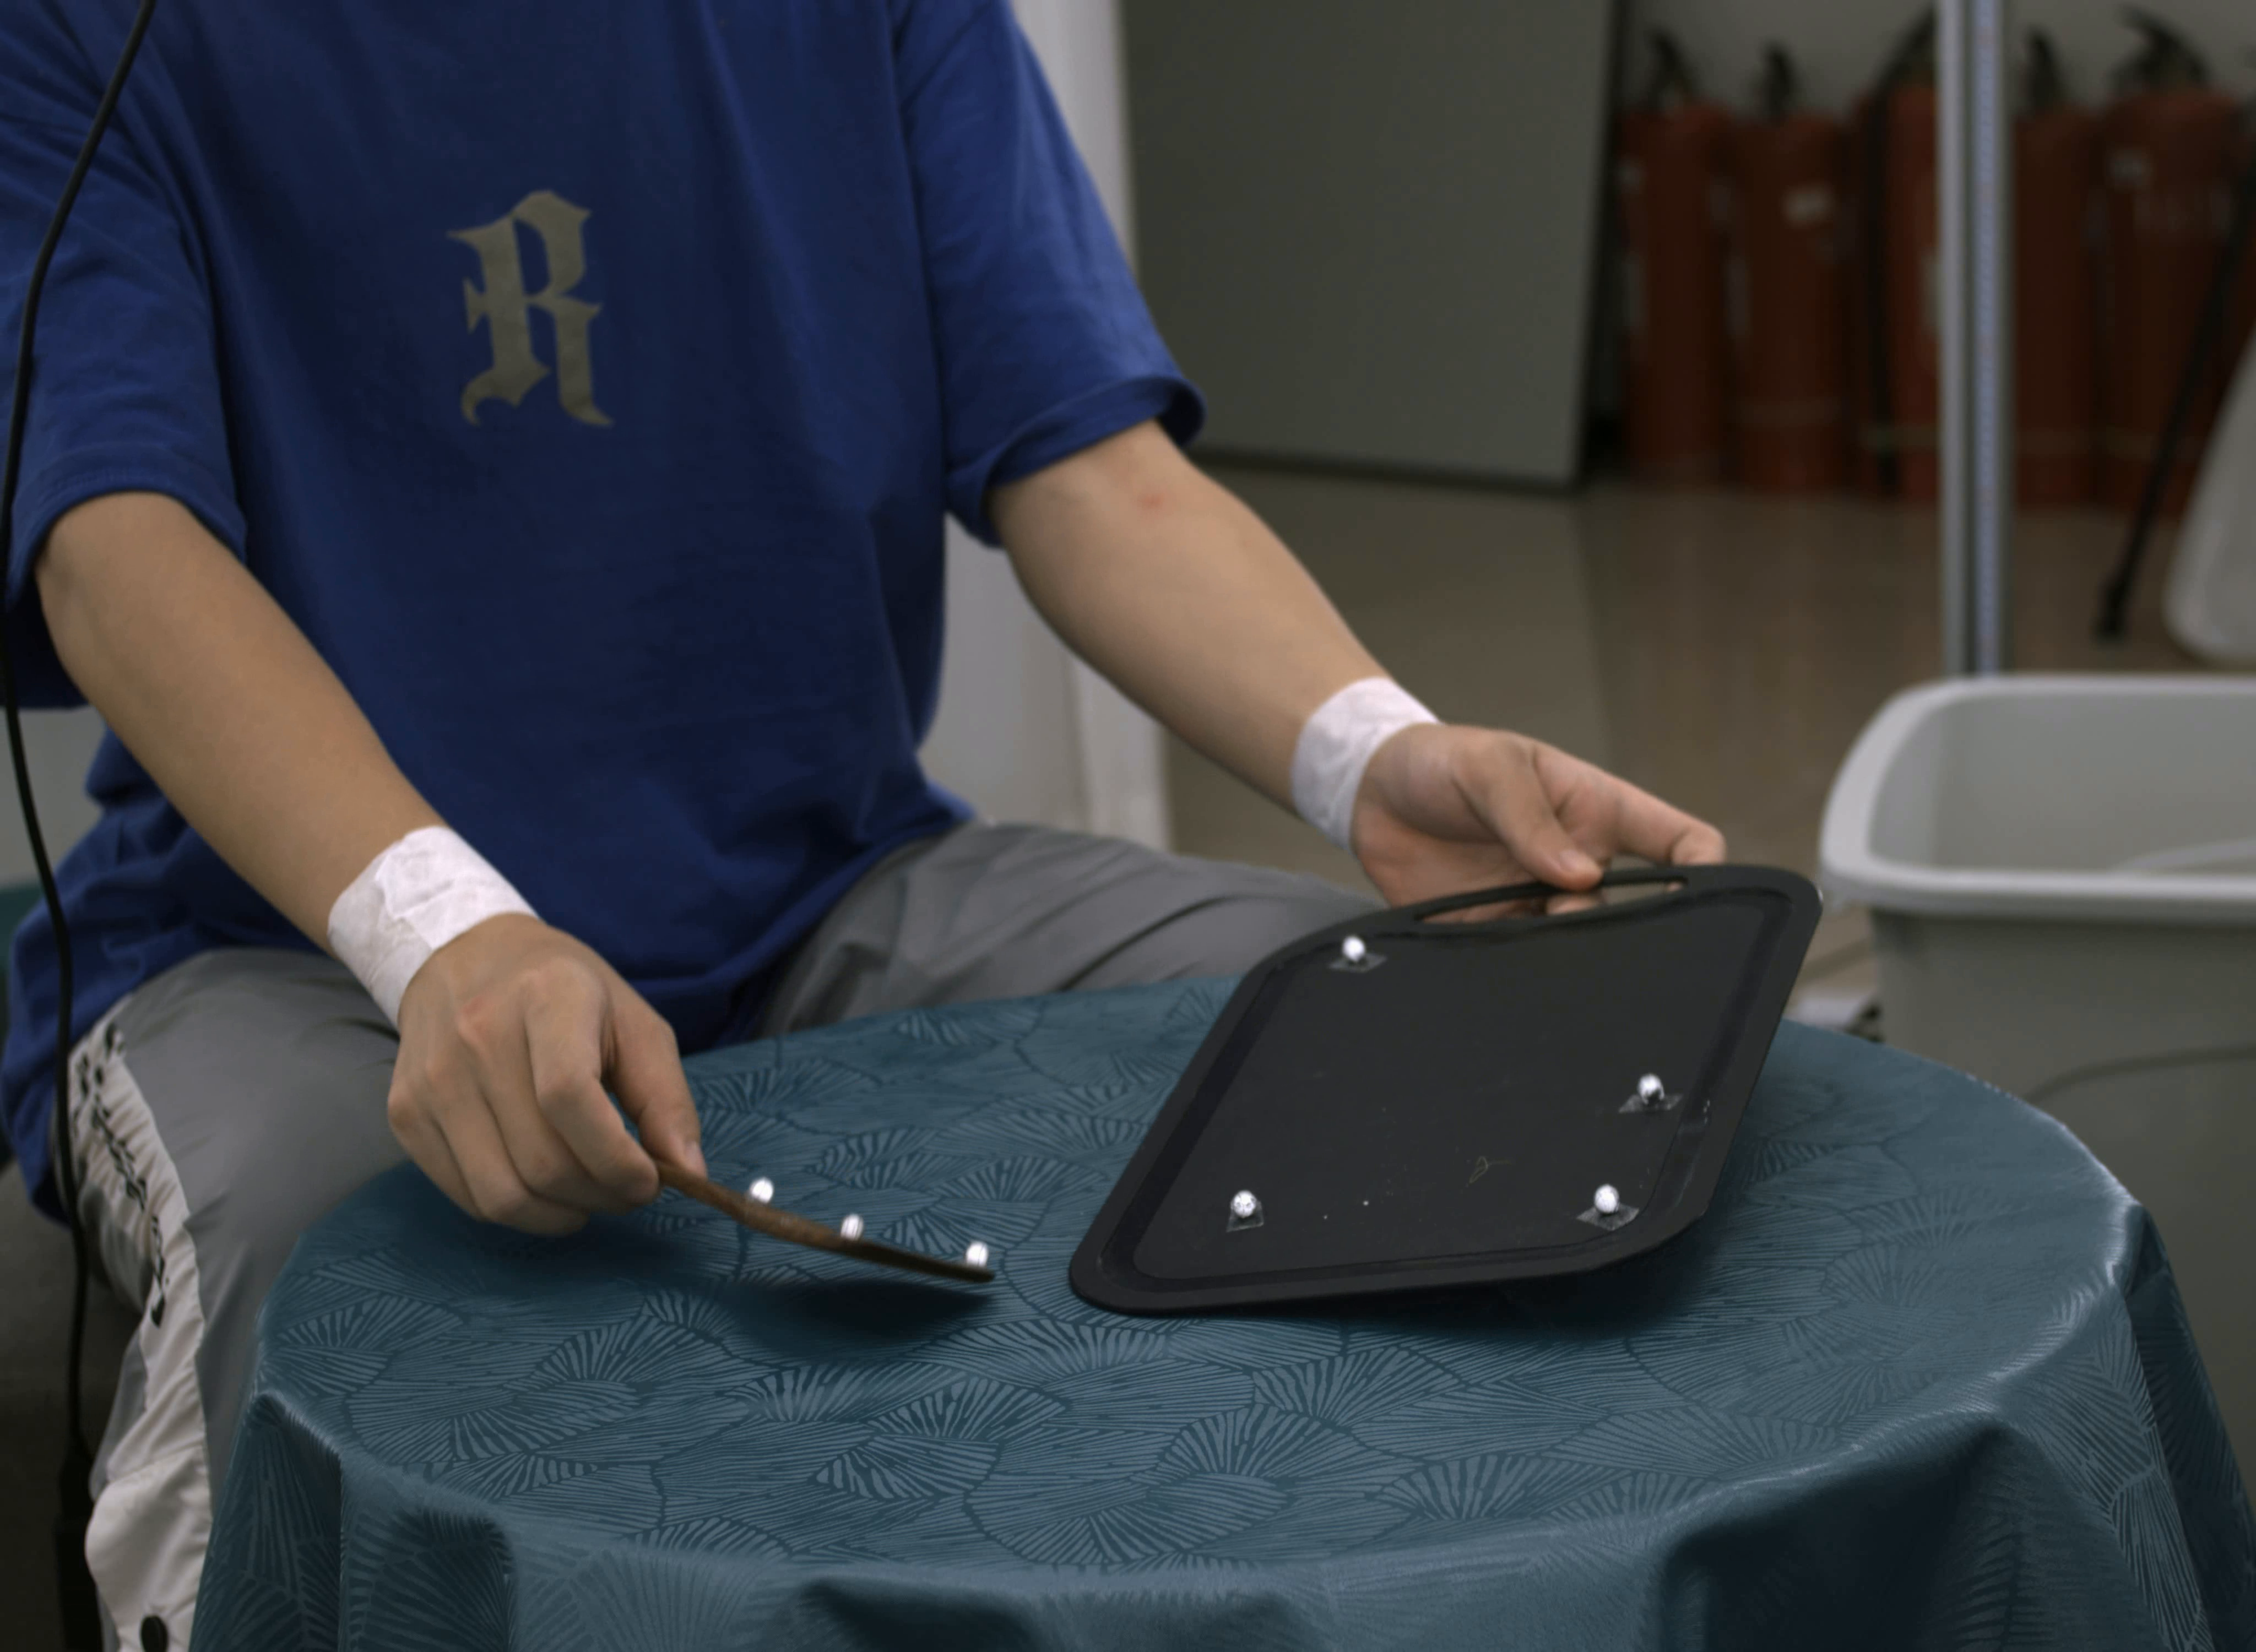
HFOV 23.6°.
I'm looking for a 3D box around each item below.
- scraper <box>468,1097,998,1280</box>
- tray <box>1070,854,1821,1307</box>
[{"bbox_3d":[-0.133,0.113,1.712,0.213,0.011,0.074,15,-4,41],"label":"scraper"},{"bbox_3d":[0.110,0.076,1.764,0.211,0.010,0.323,-8,20,21],"label":"tray"}]
